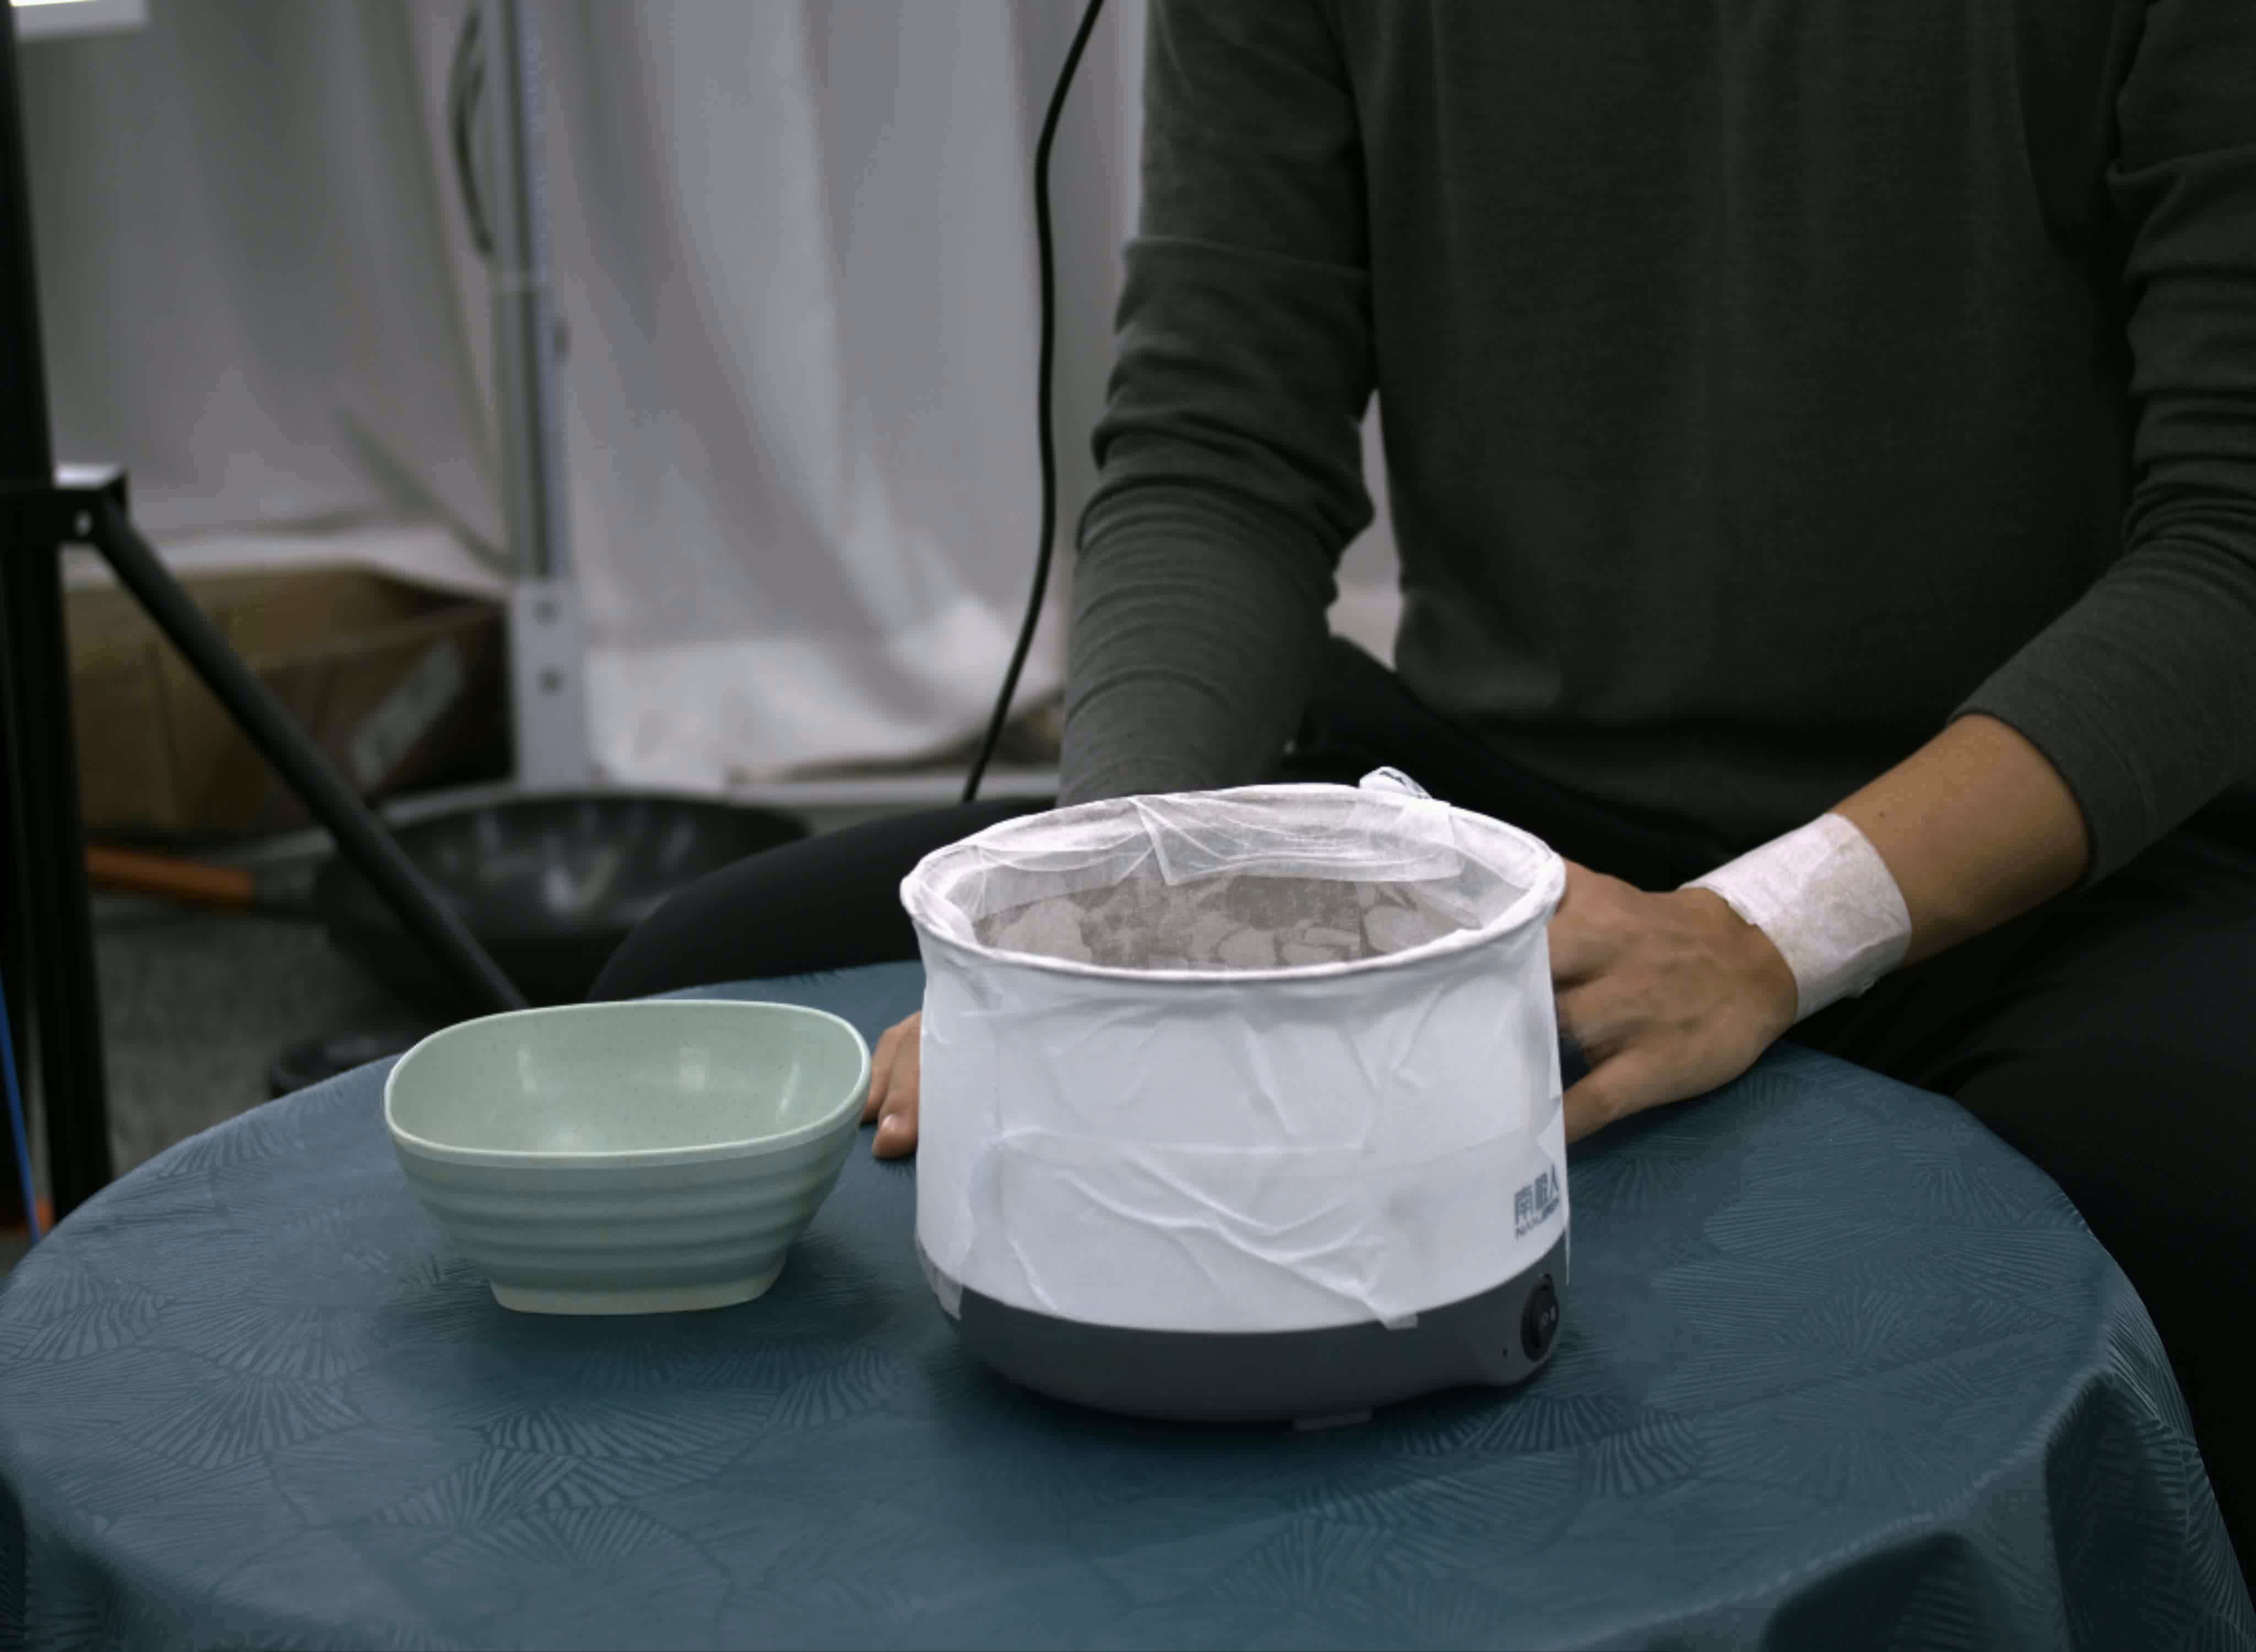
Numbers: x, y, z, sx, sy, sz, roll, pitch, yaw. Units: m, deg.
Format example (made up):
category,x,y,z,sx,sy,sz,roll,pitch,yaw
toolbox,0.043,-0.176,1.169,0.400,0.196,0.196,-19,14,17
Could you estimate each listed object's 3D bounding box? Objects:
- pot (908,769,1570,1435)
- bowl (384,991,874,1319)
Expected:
category,x,y,z,sx,sy,sz,roll,pitch,yaw
pot,0.043,0.068,1.449,0.181,0.136,0.230,6,17,26
bowl,-0.140,0.097,1.518,0.151,0.058,0.152,-3,17,0
